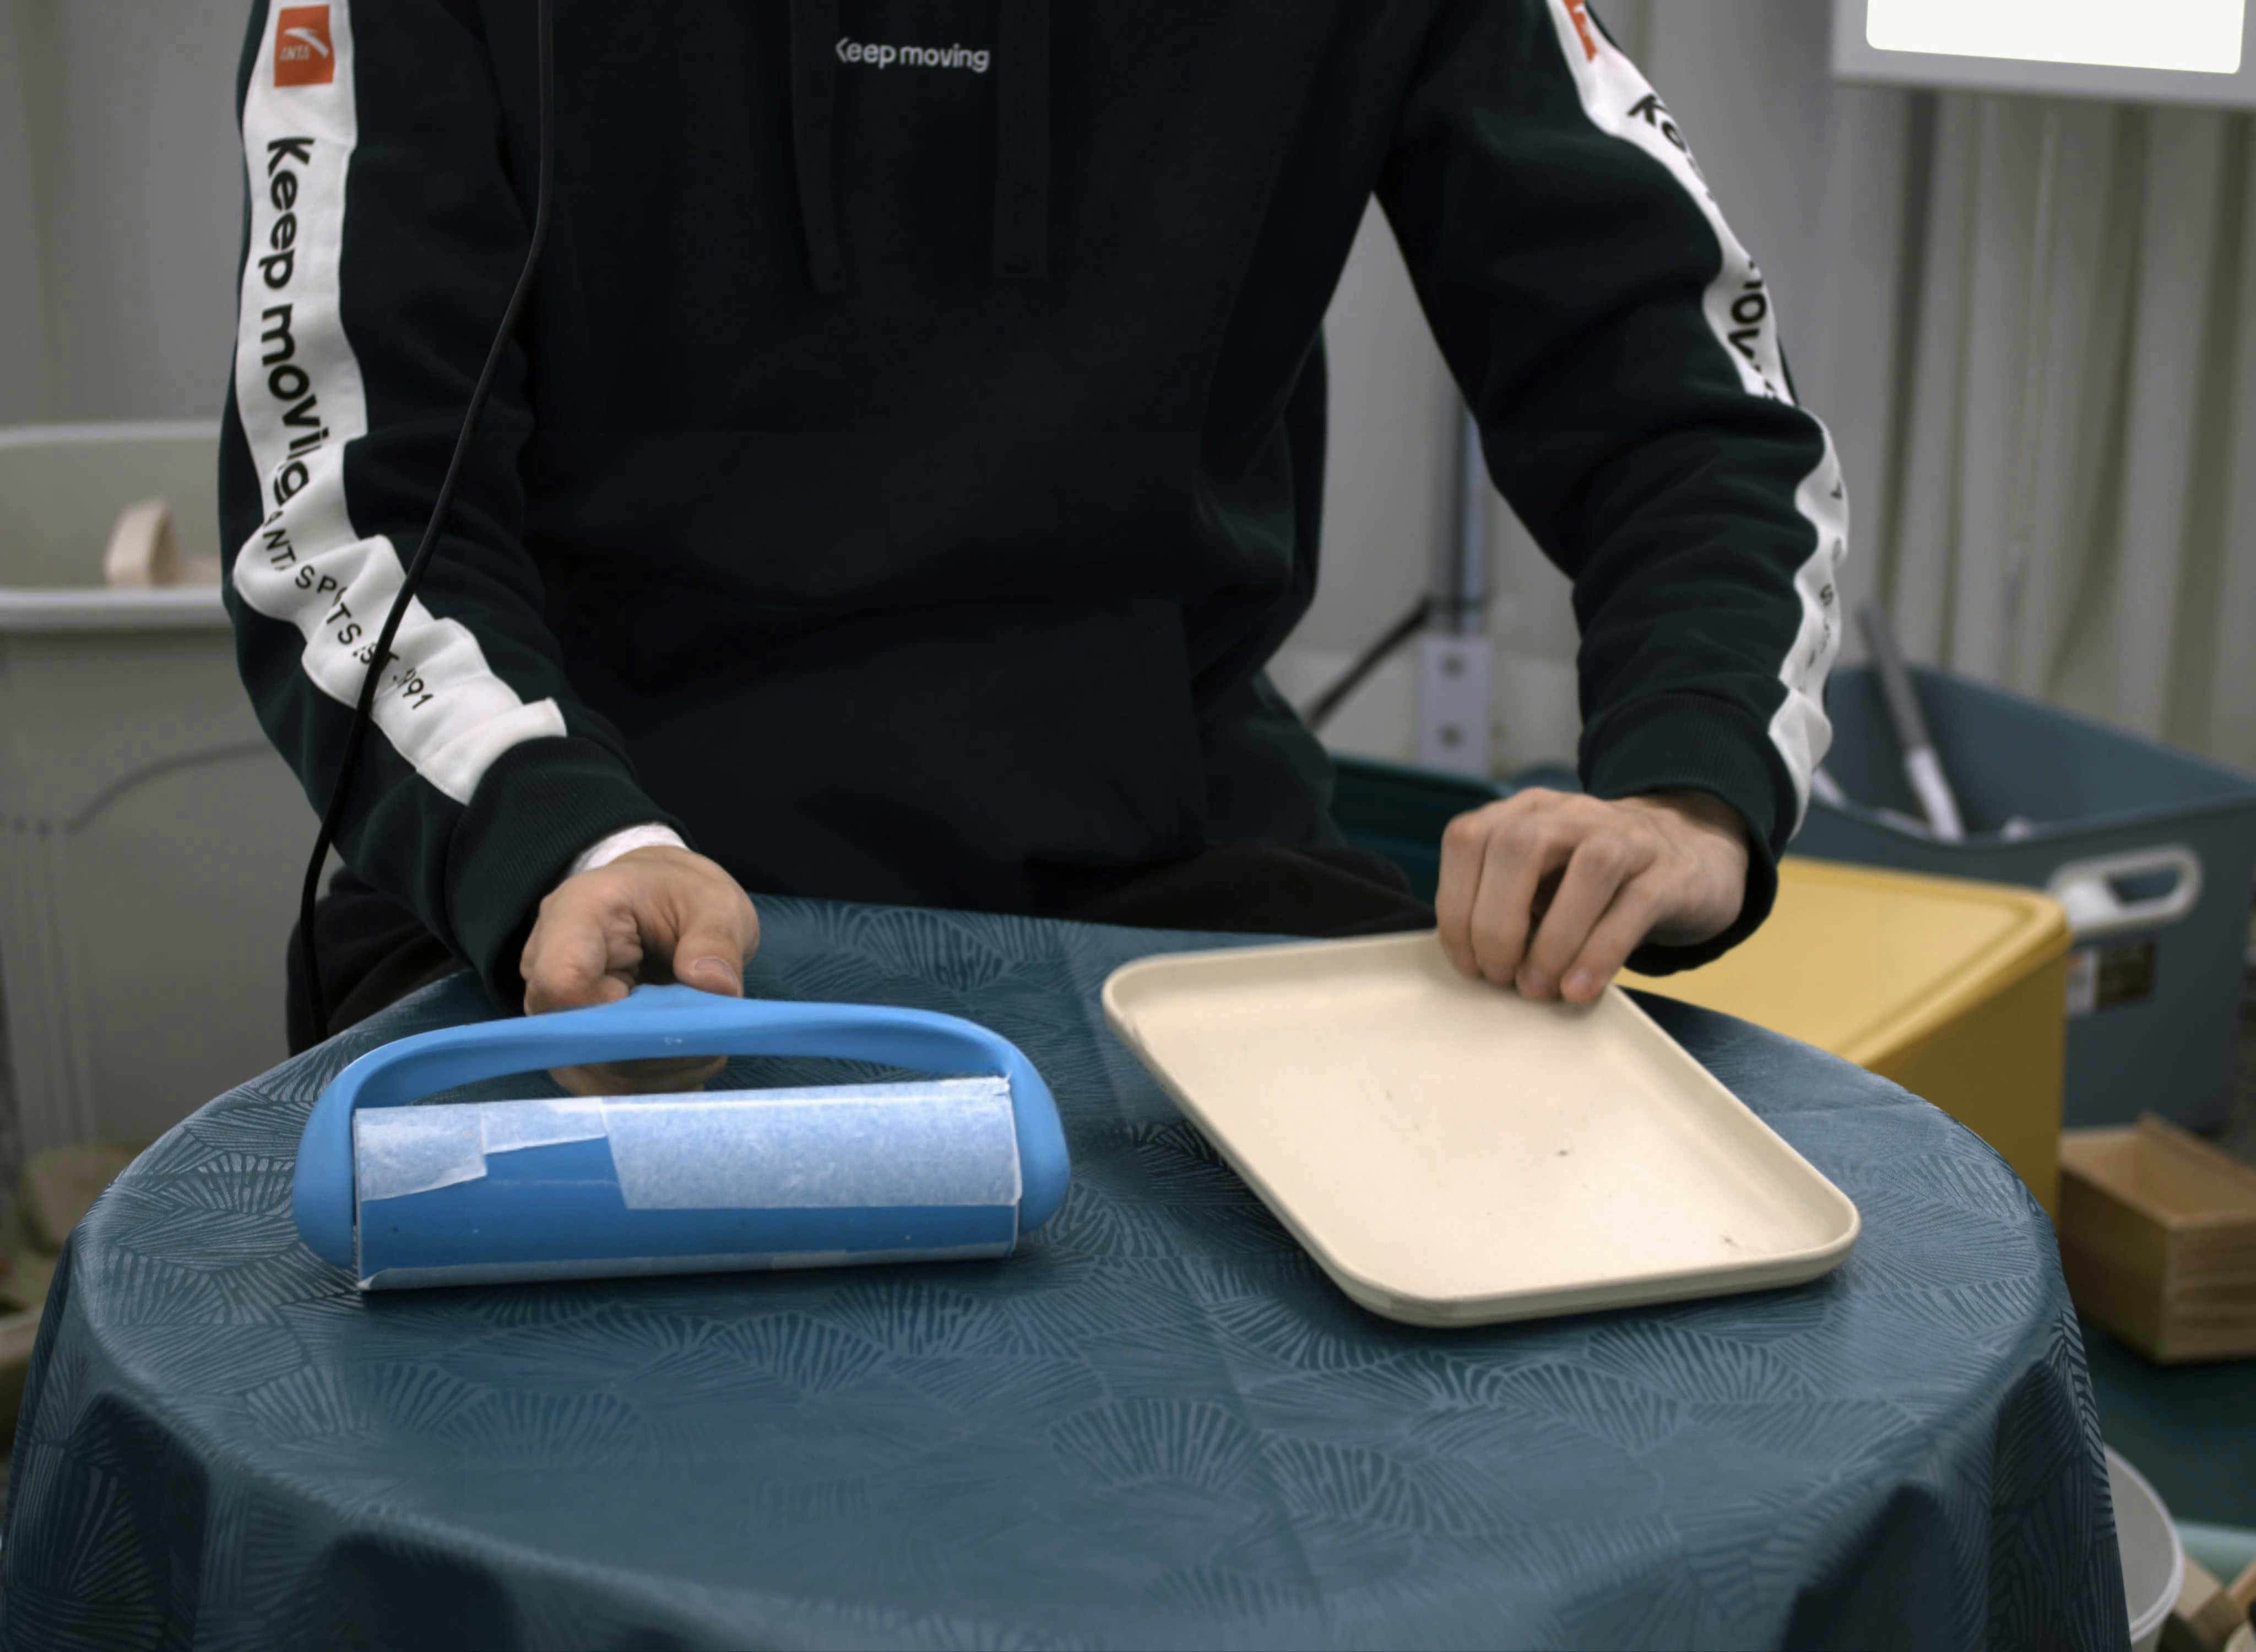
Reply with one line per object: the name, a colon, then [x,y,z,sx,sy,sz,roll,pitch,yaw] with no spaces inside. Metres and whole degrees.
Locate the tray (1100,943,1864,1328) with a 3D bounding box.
tray: [0.104,0.093,1.611,0.172,0.017,0.236,-4,23,-22]

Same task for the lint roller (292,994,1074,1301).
lint roller: [-0.140,0.083,1.593,0.229,0.068,0.178,-5,23,-11]
